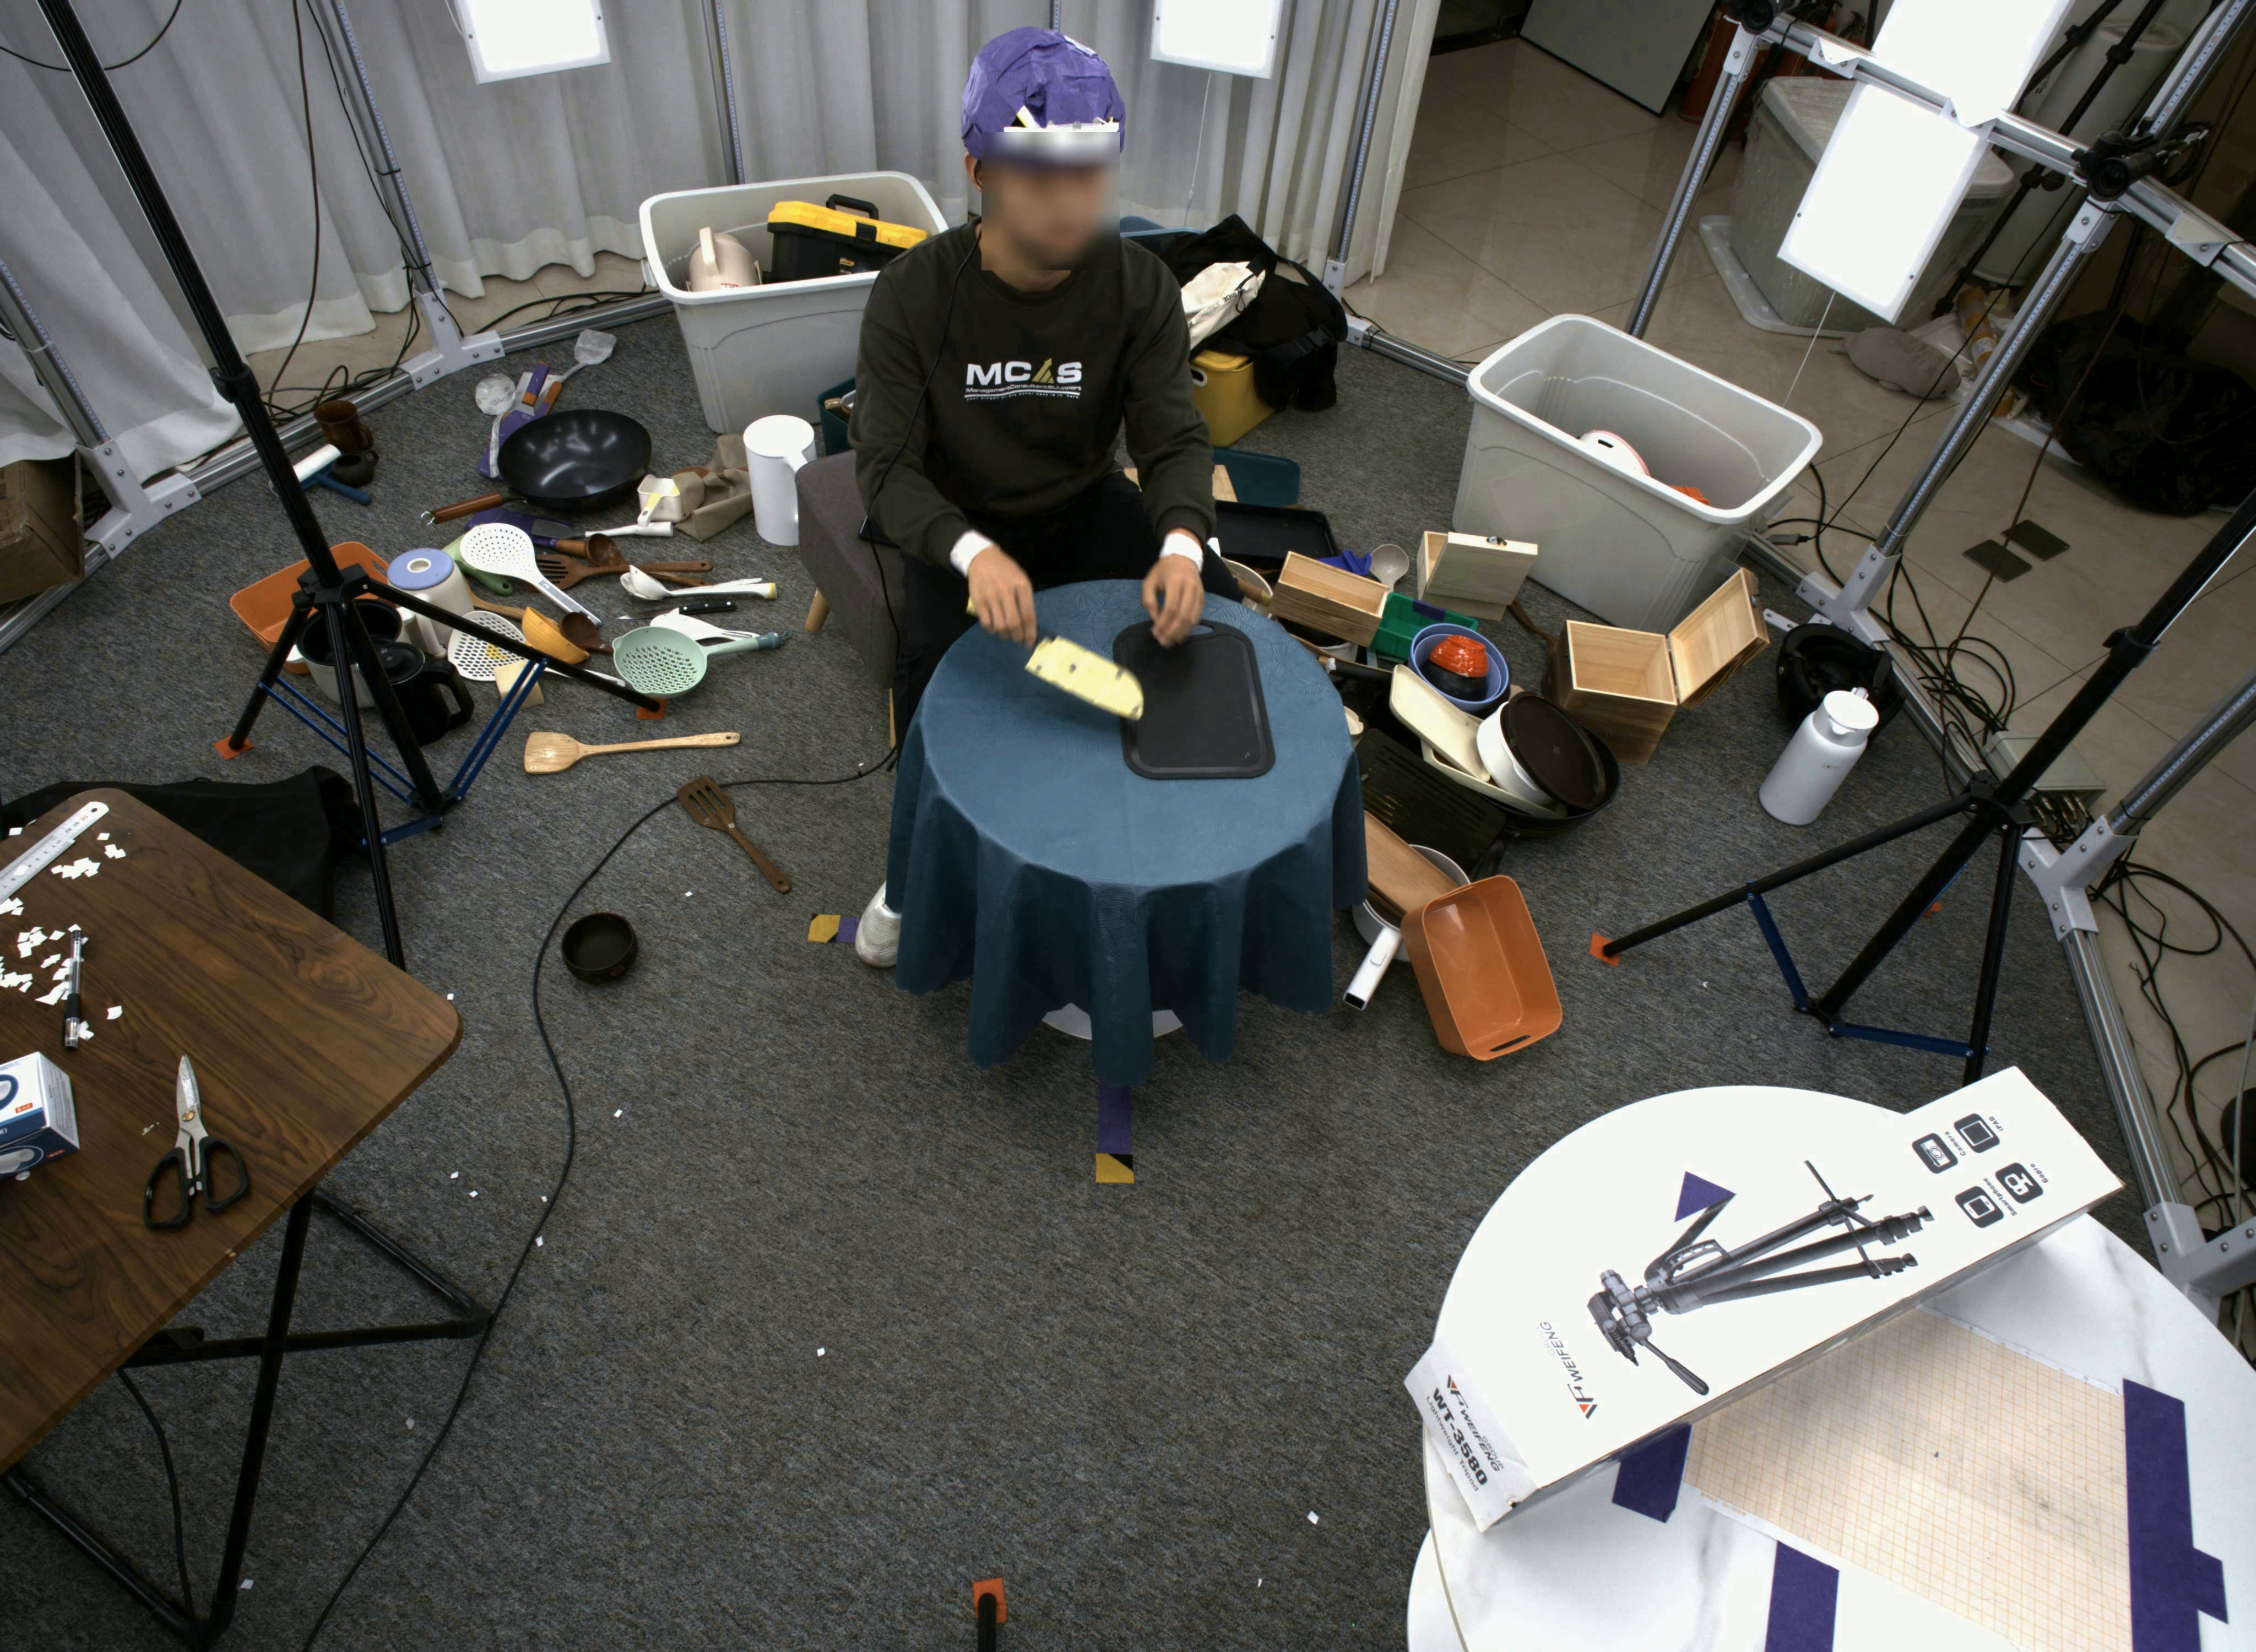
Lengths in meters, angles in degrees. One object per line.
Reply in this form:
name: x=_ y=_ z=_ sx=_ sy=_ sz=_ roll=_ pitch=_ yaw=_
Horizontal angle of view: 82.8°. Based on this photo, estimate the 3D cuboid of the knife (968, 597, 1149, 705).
knife: x=-0.099 y=-0.241 z=1.778 sx=0.290 sy=0.026 sz=0.082 roll=28 pitch=56 yaw=8

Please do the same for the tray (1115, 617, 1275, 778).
tray: x=0.090 y=-0.191 z=1.835 sx=0.211 sy=0.009 sz=0.333 roll=-1 pitch=49 yaw=-5
